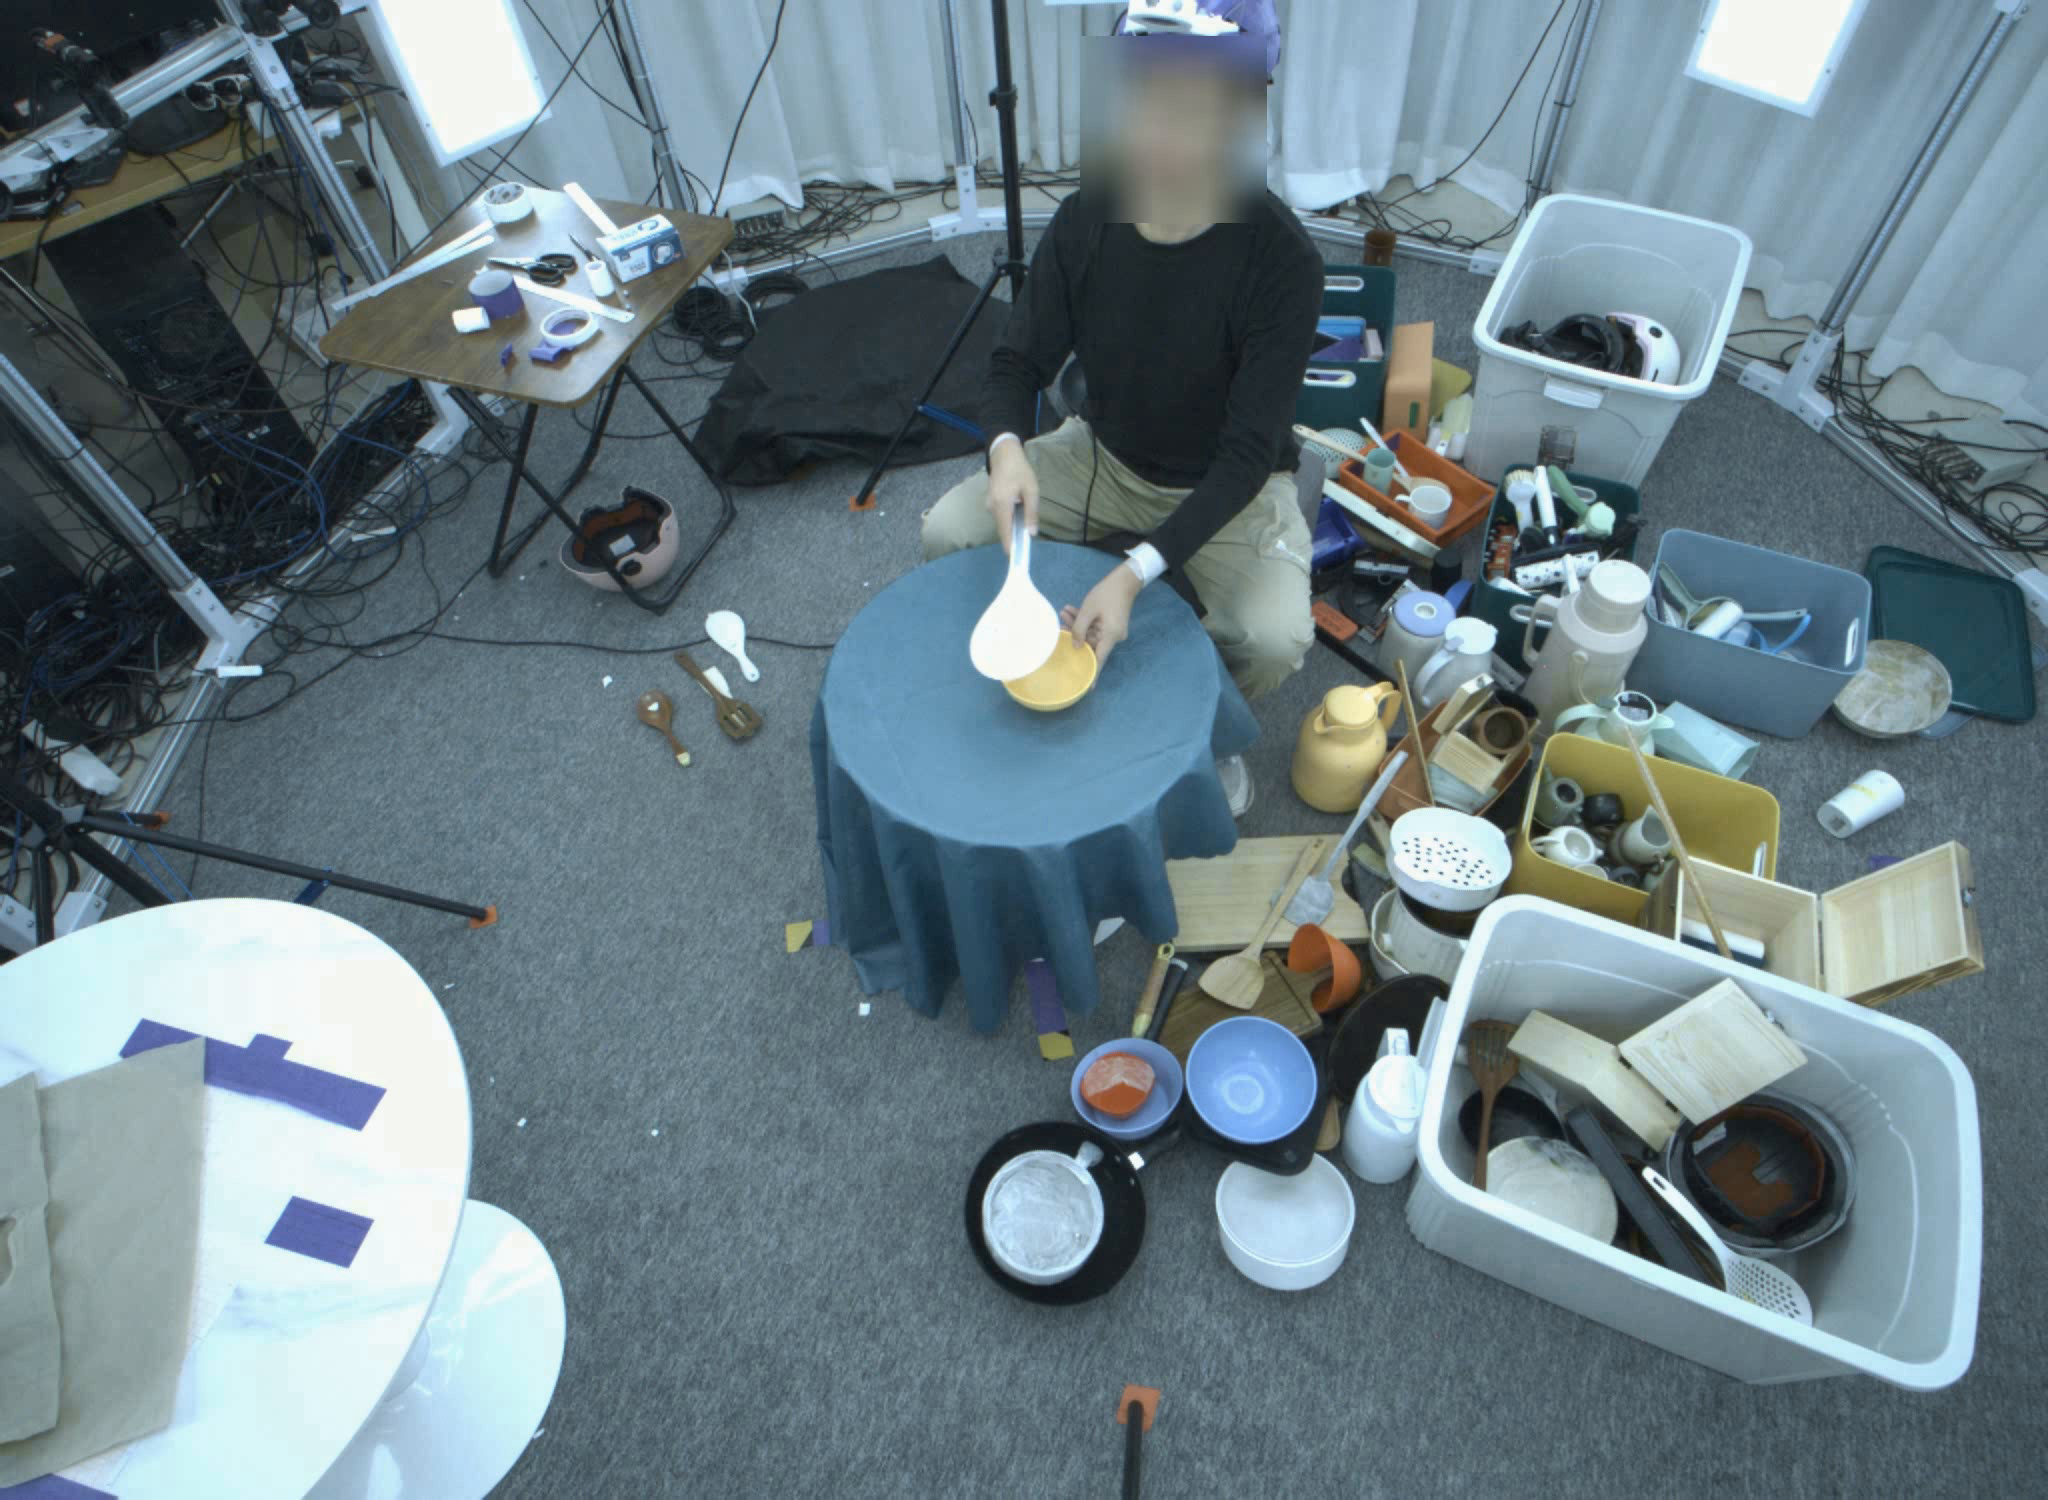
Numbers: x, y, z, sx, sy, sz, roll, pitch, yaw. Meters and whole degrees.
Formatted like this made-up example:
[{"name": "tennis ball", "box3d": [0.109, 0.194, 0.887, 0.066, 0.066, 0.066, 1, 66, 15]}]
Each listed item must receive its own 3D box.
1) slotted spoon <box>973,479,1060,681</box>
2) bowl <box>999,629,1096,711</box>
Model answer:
[{"name": "slotted spoon", "box3d": [-0.006, -0.253, 1.796, 0.134, 0.046, 0.347, -9, 68, 21]}, {"name": "bowl", "box3d": [0.034, -0.108, 1.829, 0.145, 0.061, 0.144, 0, 56, 1]}]
